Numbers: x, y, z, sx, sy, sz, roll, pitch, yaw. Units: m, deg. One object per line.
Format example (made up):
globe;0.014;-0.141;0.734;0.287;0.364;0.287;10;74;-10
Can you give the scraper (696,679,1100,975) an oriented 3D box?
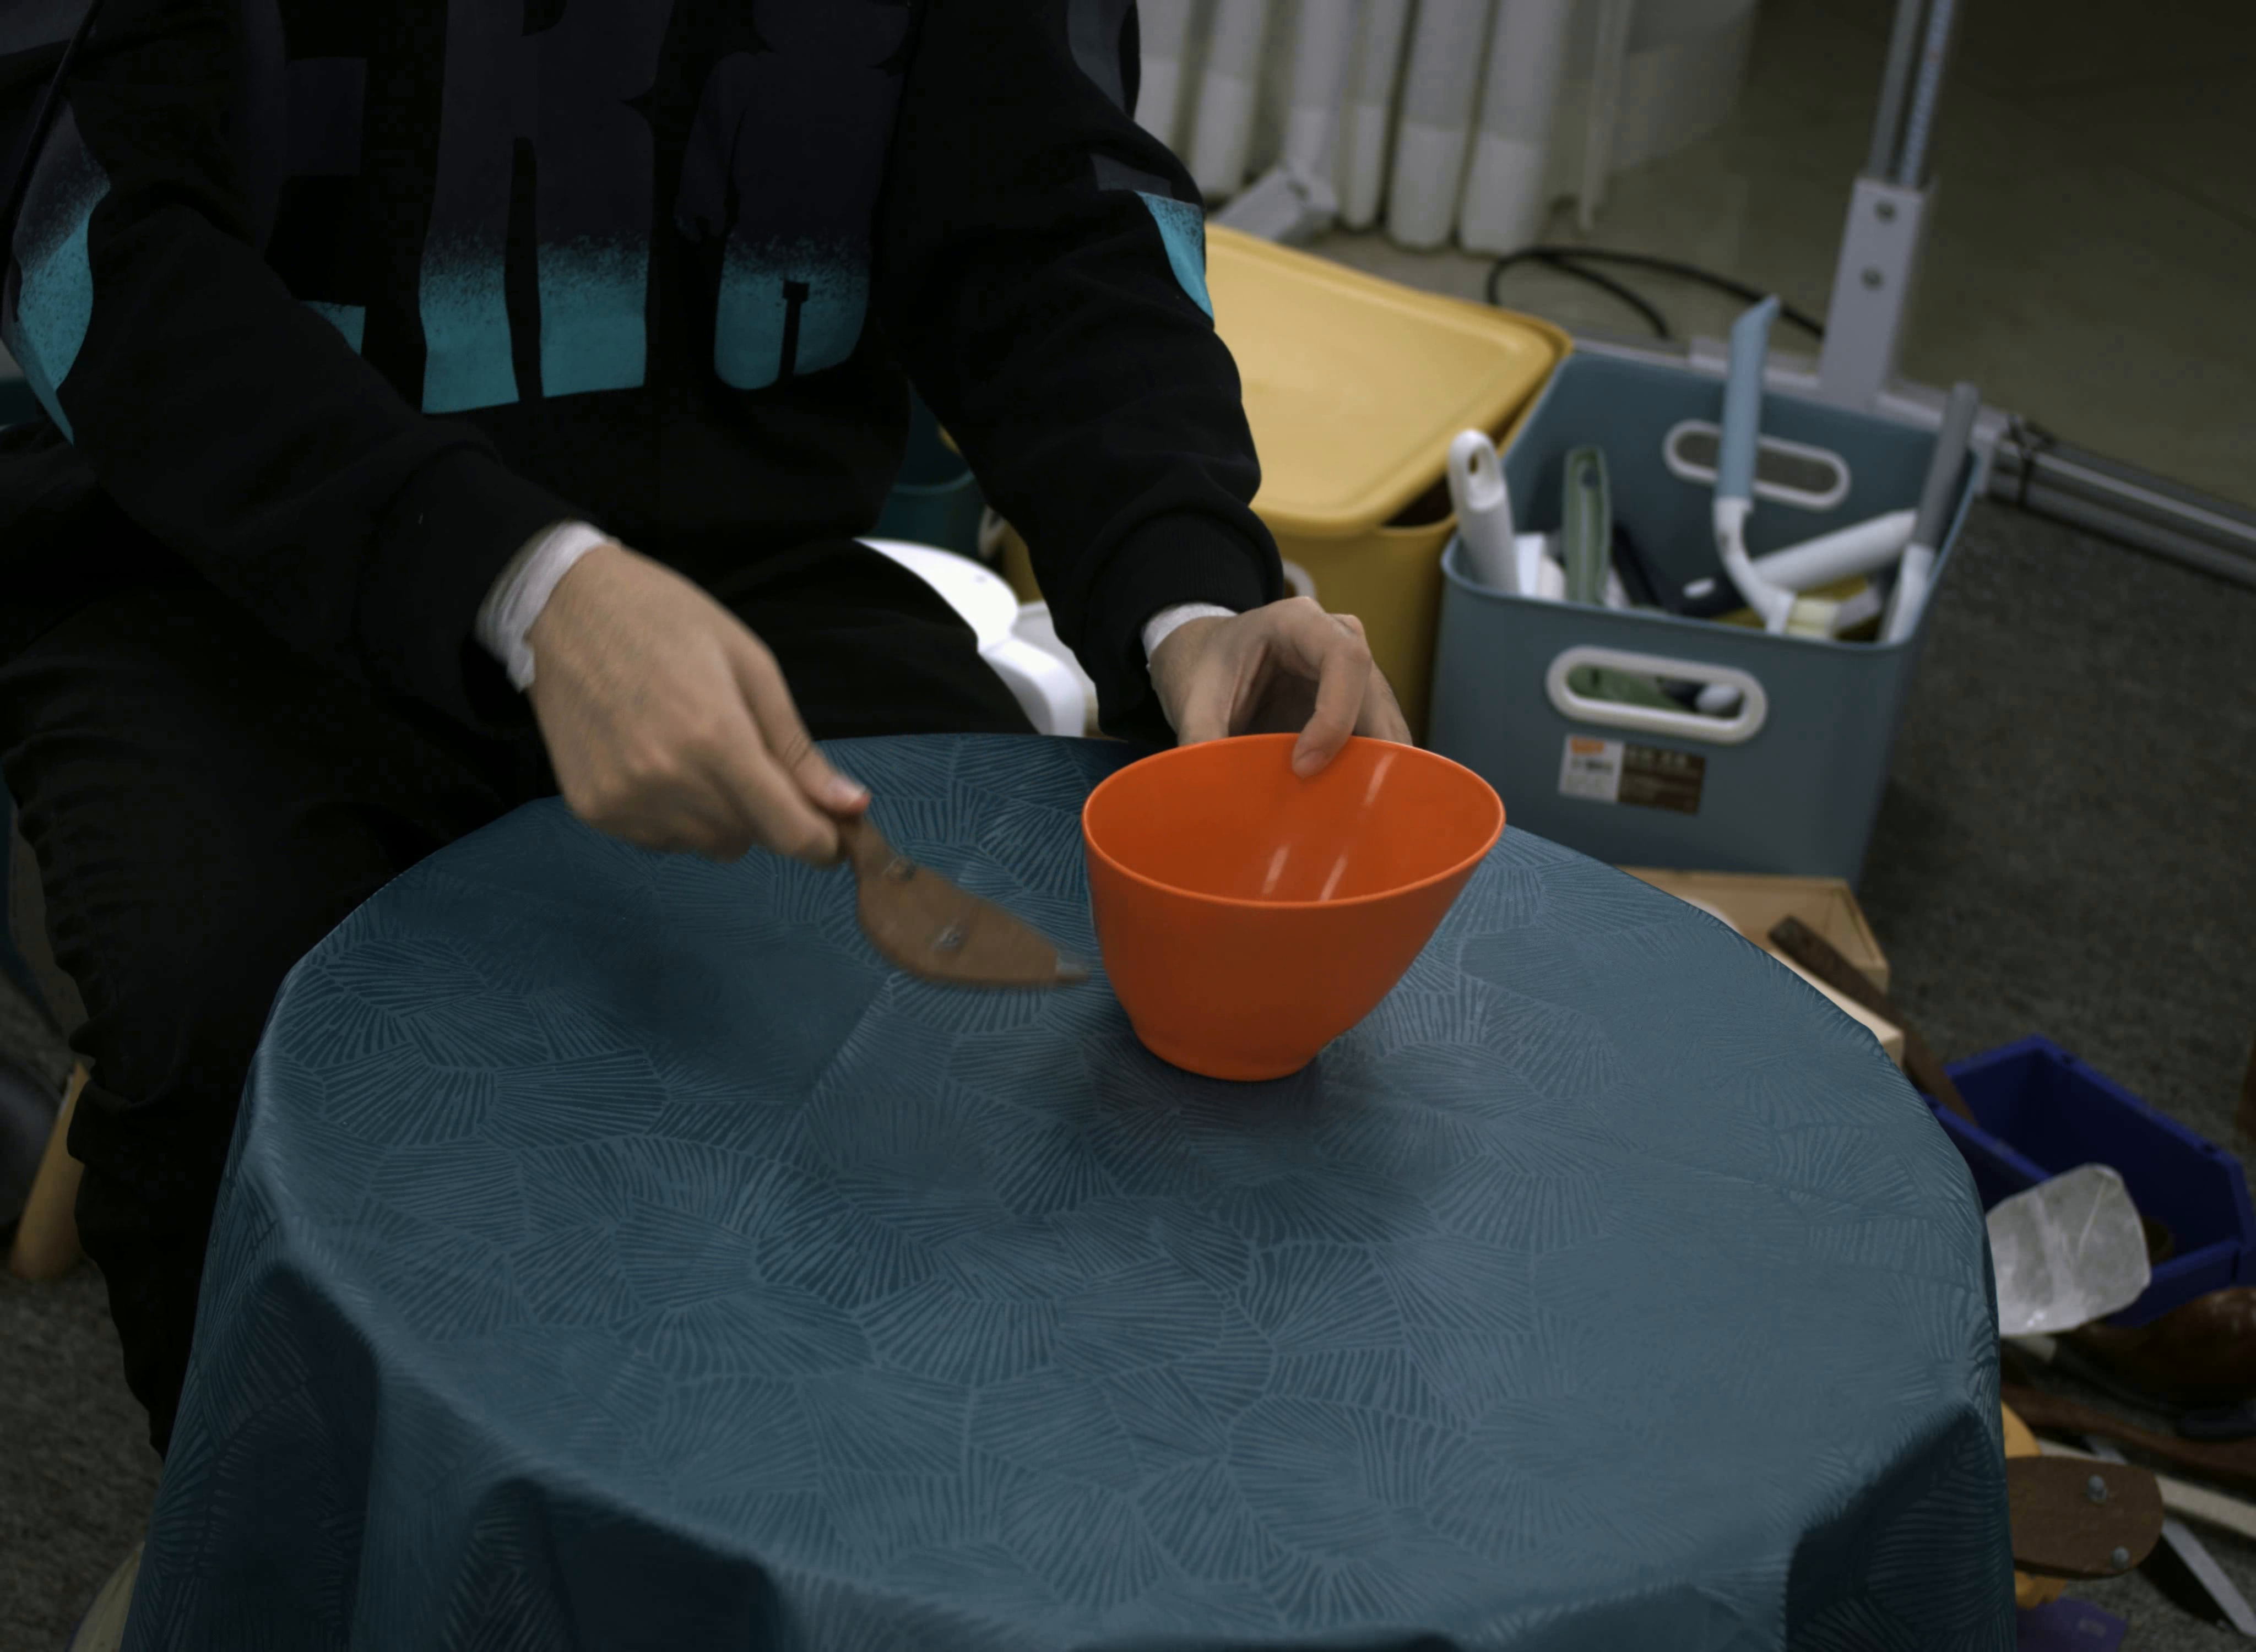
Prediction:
scraper;-0.090;0.000;1.830;0.075;0.011;0.213;3;27;-38

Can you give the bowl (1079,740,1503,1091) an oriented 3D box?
bowl;0.052;0.035;1.877;0.147;0.104;0.149;5;26;-3
